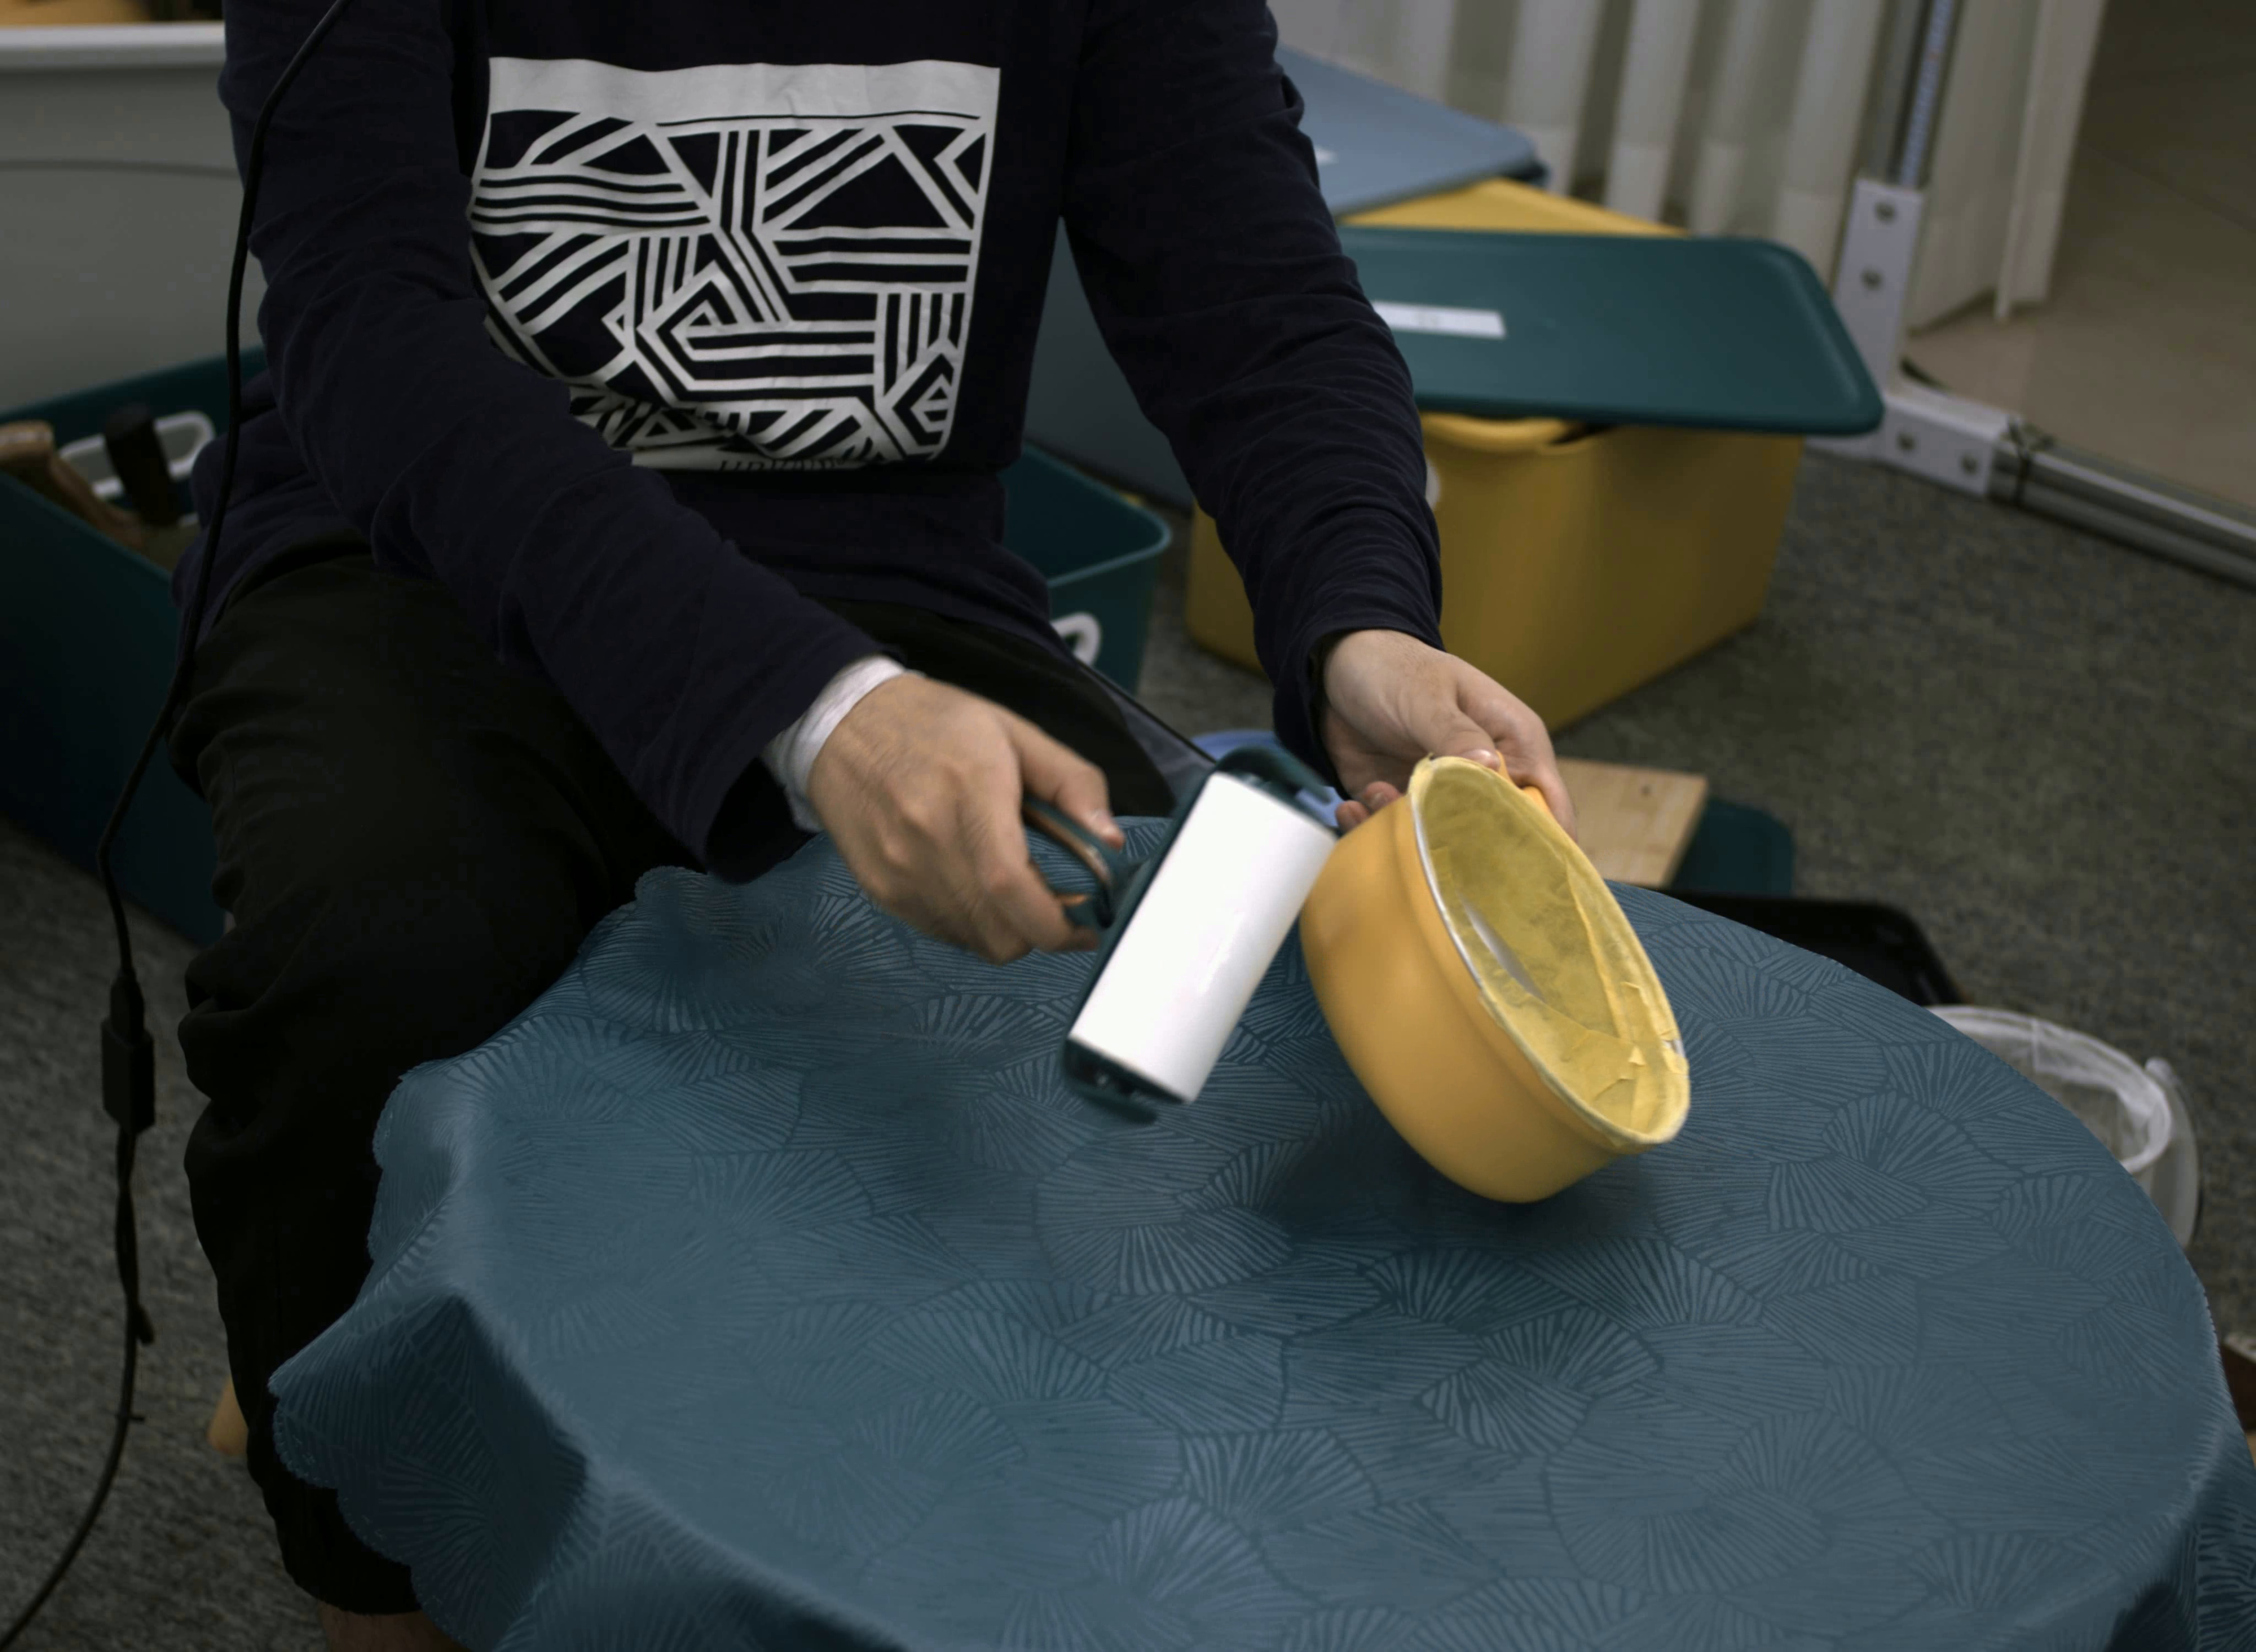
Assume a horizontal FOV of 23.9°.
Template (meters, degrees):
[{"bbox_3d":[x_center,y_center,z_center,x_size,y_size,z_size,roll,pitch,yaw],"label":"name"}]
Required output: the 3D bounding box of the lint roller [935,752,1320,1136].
[{"bbox_3d":[-0.021,0.021,1.794,0.048,0.134,0.181,32,-6,-42],"label":"lint roller"}]

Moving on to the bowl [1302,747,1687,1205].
[{"bbox_3d":[0.121,0.049,1.833,0.151,0.074,0.181,36,30,-34],"label":"bowl"}]
